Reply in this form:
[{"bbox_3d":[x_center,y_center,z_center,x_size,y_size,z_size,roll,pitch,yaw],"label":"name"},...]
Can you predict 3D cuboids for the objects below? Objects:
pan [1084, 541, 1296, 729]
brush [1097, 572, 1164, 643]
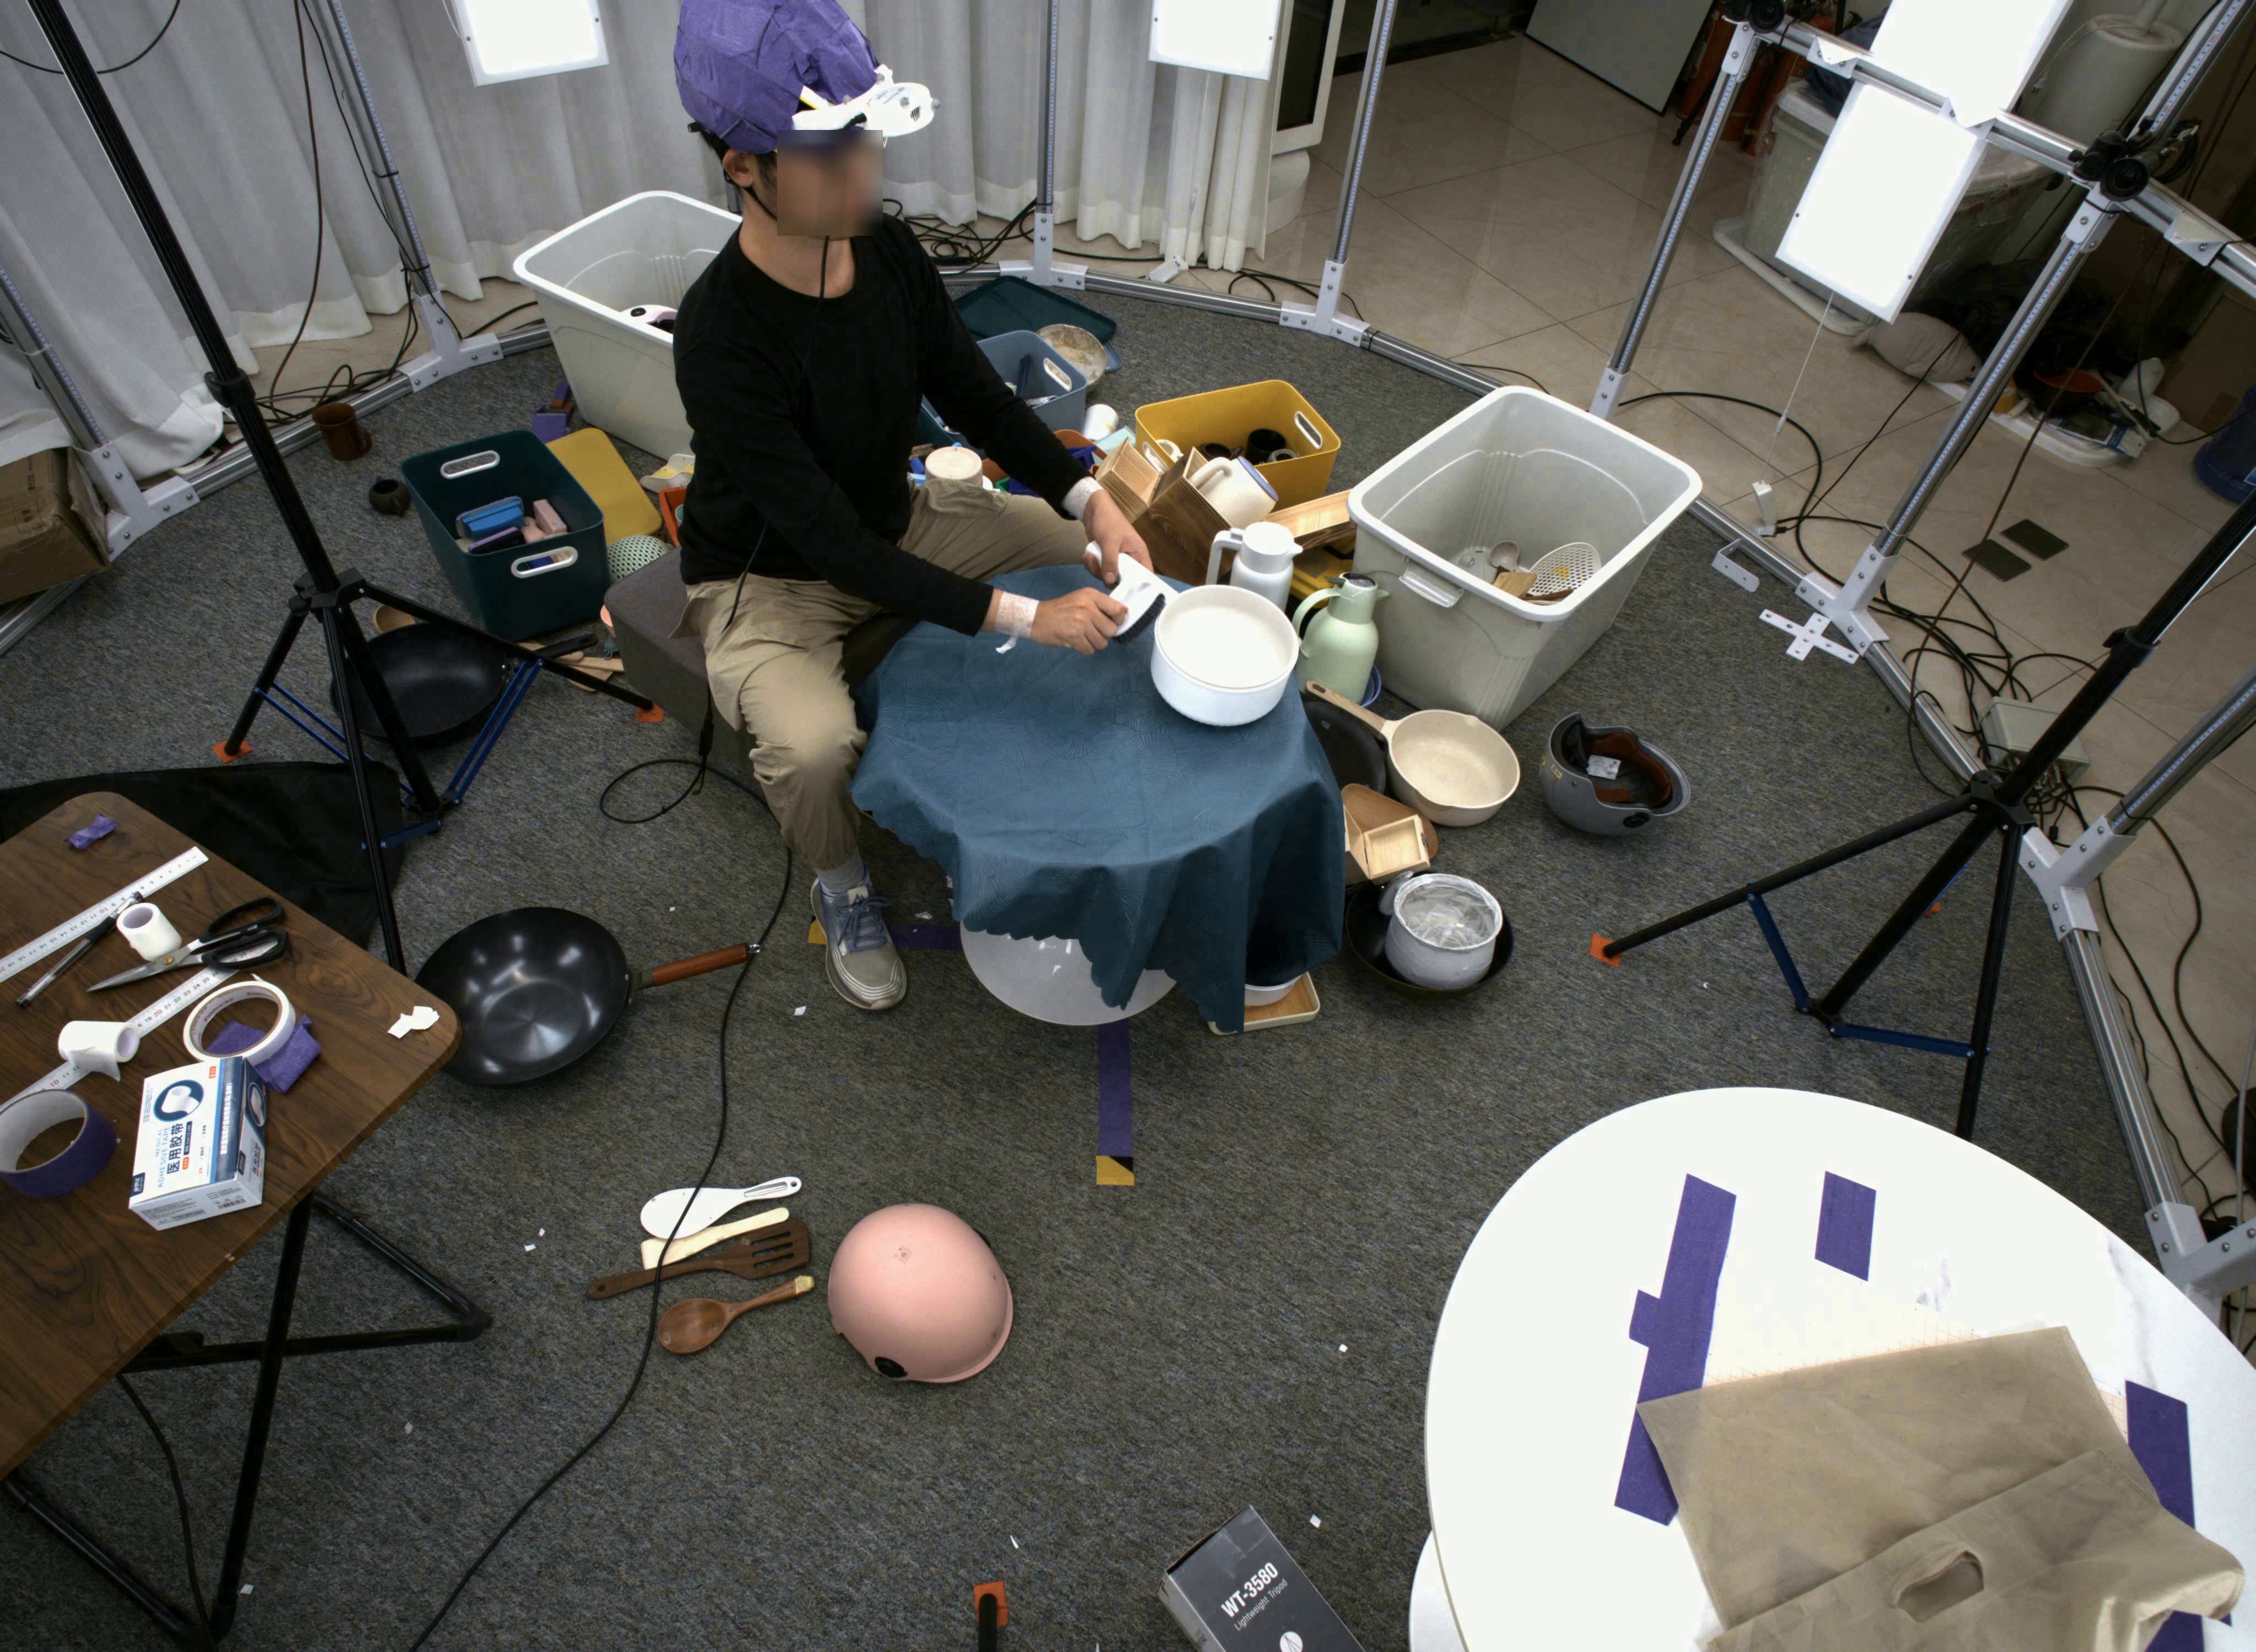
[{"bbox_3d":[0.075,-0.277,1.844,0.359,0.100,0.203,38,60,21],"label":"pan"},{"bbox_3d":[-0.003,-0.307,1.769,0.099,0.071,0.051,-47,63,2],"label":"brush"}]
